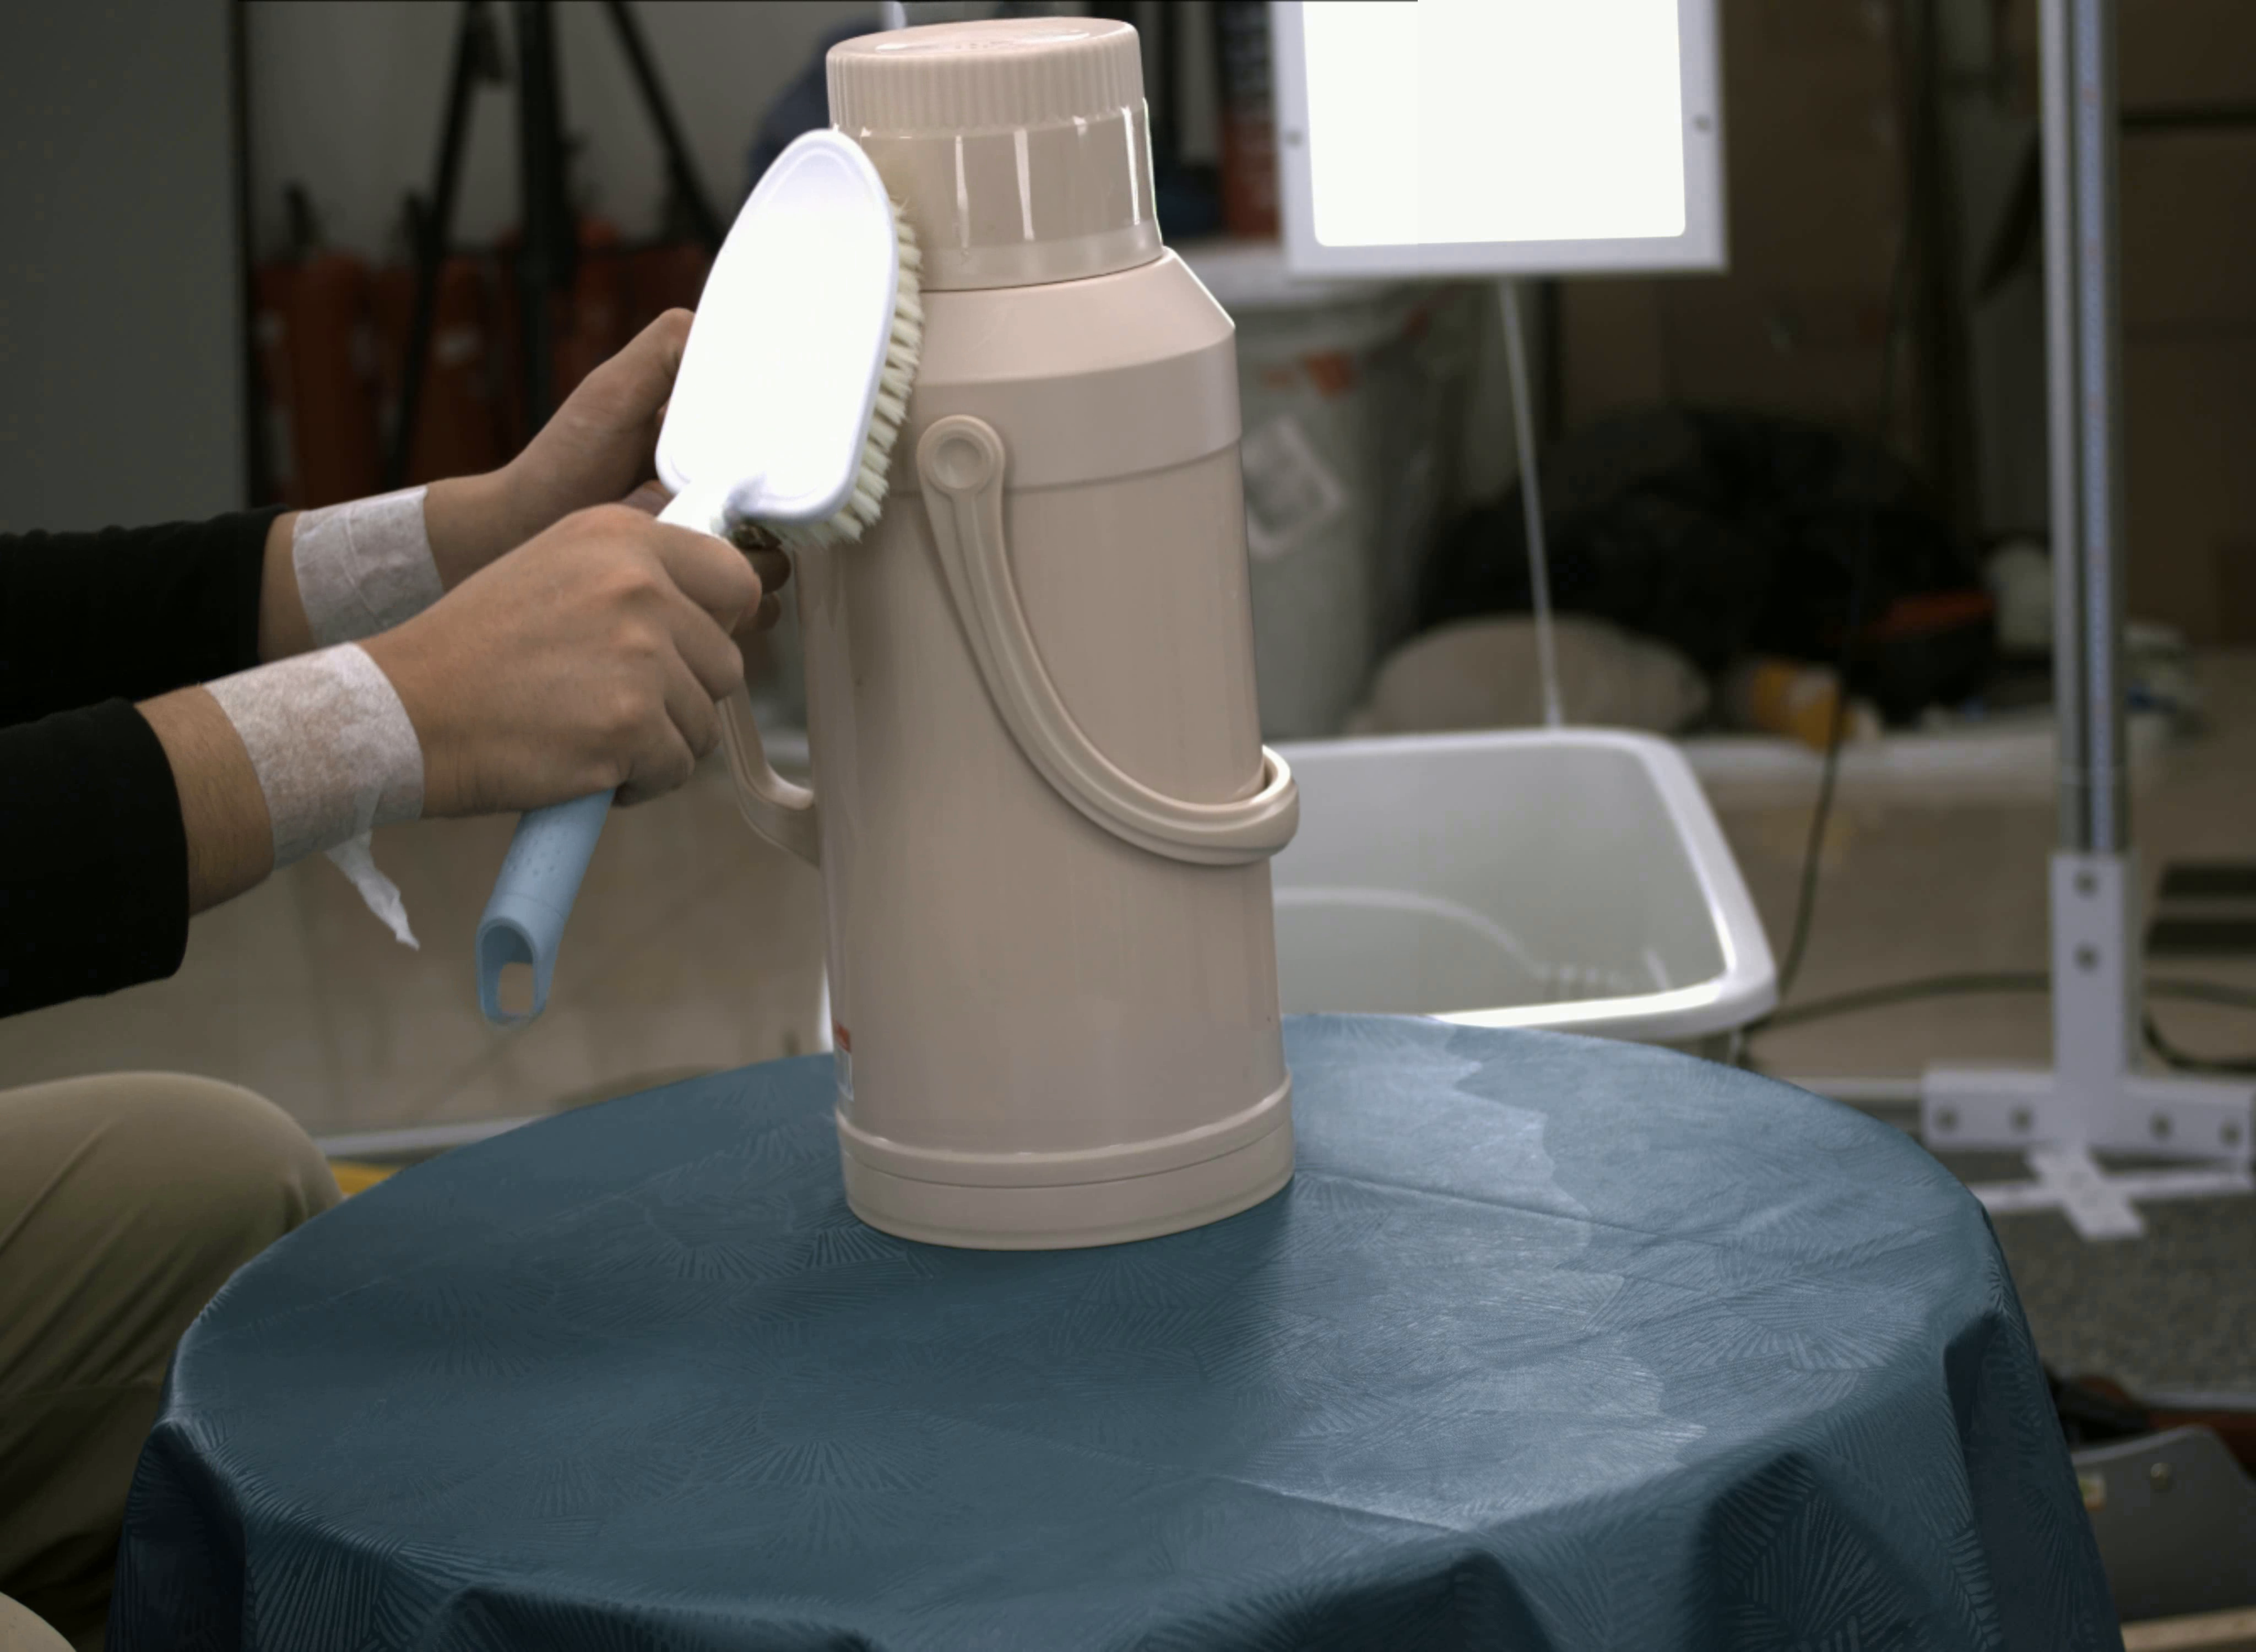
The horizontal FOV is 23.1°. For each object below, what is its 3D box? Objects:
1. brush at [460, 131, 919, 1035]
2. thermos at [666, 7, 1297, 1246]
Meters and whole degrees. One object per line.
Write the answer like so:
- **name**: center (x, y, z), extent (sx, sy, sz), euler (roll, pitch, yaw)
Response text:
- **brush**: center (-0.138, -0.068, 1.735), extent (0.083, 0.323, 0.085), euler (29, -24, -25)
- **thermos**: center (-0.049, -0.069, 1.878), extent (0.208, 0.408, 0.173), euler (-1, 16, 11)
